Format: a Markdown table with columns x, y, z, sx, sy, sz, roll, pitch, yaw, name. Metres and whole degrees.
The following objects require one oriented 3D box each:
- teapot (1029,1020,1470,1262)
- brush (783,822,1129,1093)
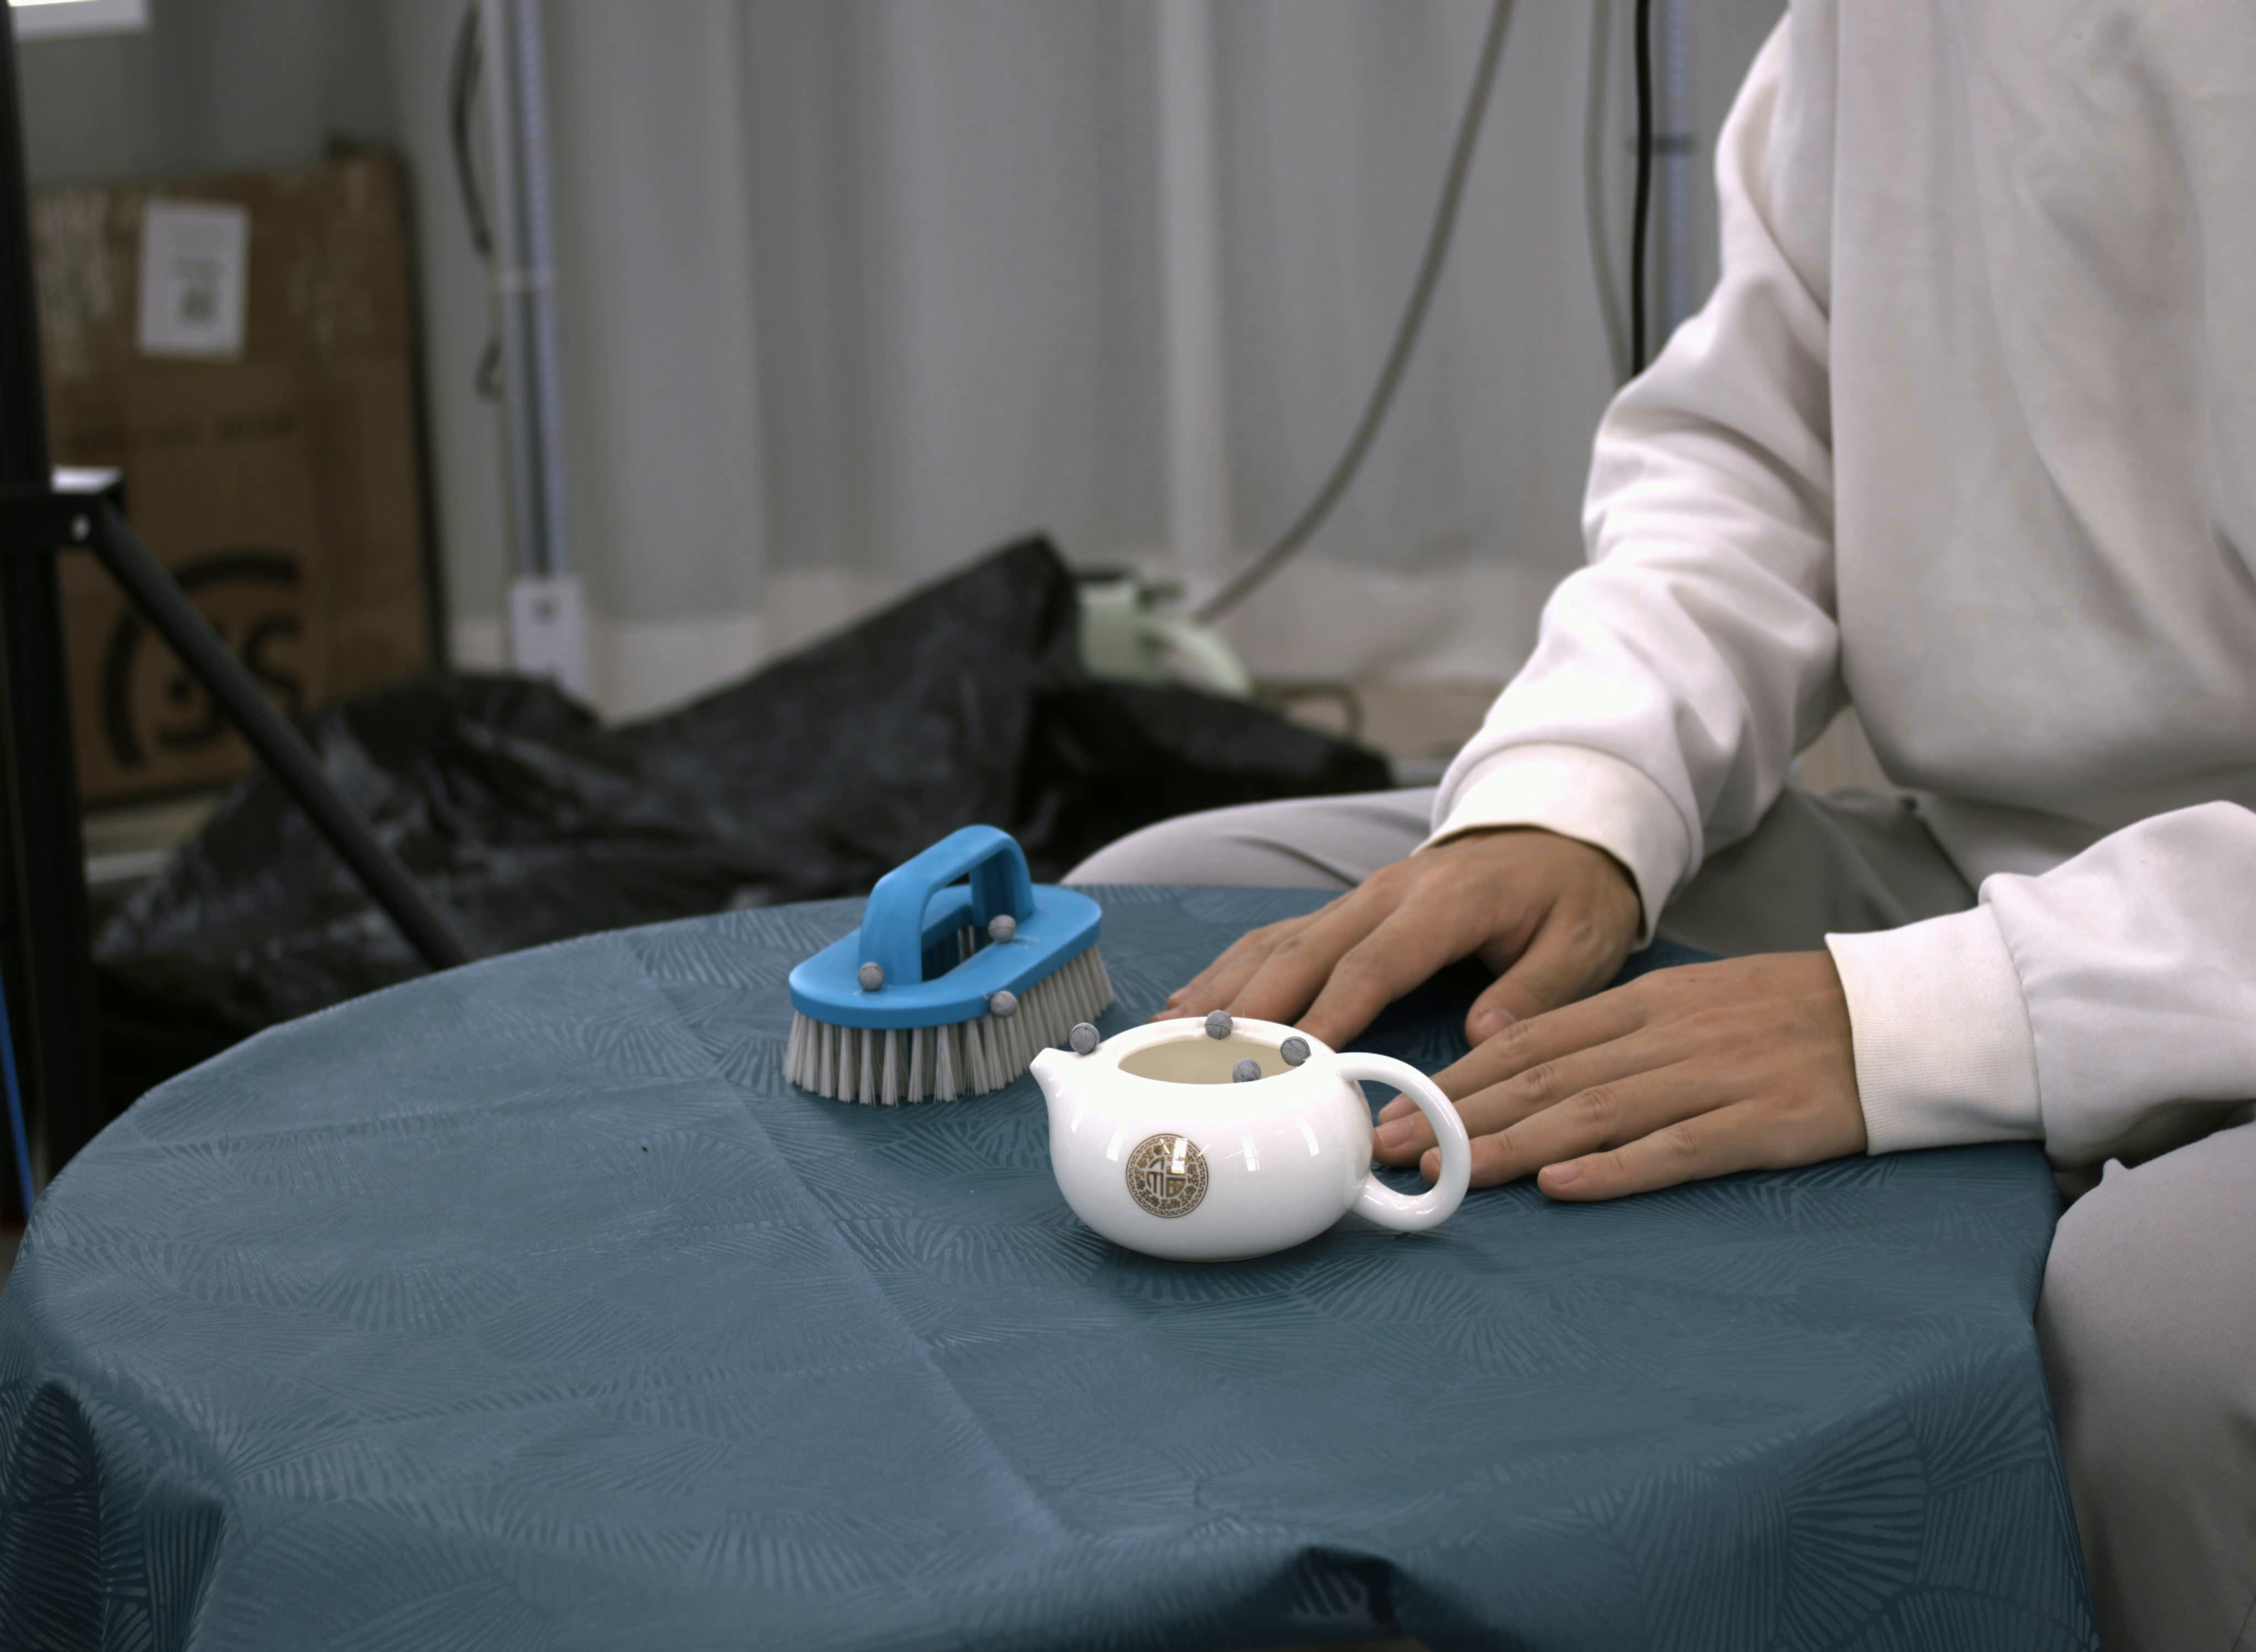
| x | y | z | sx | sy | sz | roll | pitch | yaw | name |
| --- | --- | --- | --- | --- | --- | --- | --- | --- | --- |
| 0.035 | 0.091 | 1.518 | 0.127 | 0.057 | 0.093 | 0 | 12 | 6 | teapot |
| -0.057 | 0.037 | 1.701 | 0.085 | 0.064 | 0.139 | 0 | 14 | 27 | brush |
